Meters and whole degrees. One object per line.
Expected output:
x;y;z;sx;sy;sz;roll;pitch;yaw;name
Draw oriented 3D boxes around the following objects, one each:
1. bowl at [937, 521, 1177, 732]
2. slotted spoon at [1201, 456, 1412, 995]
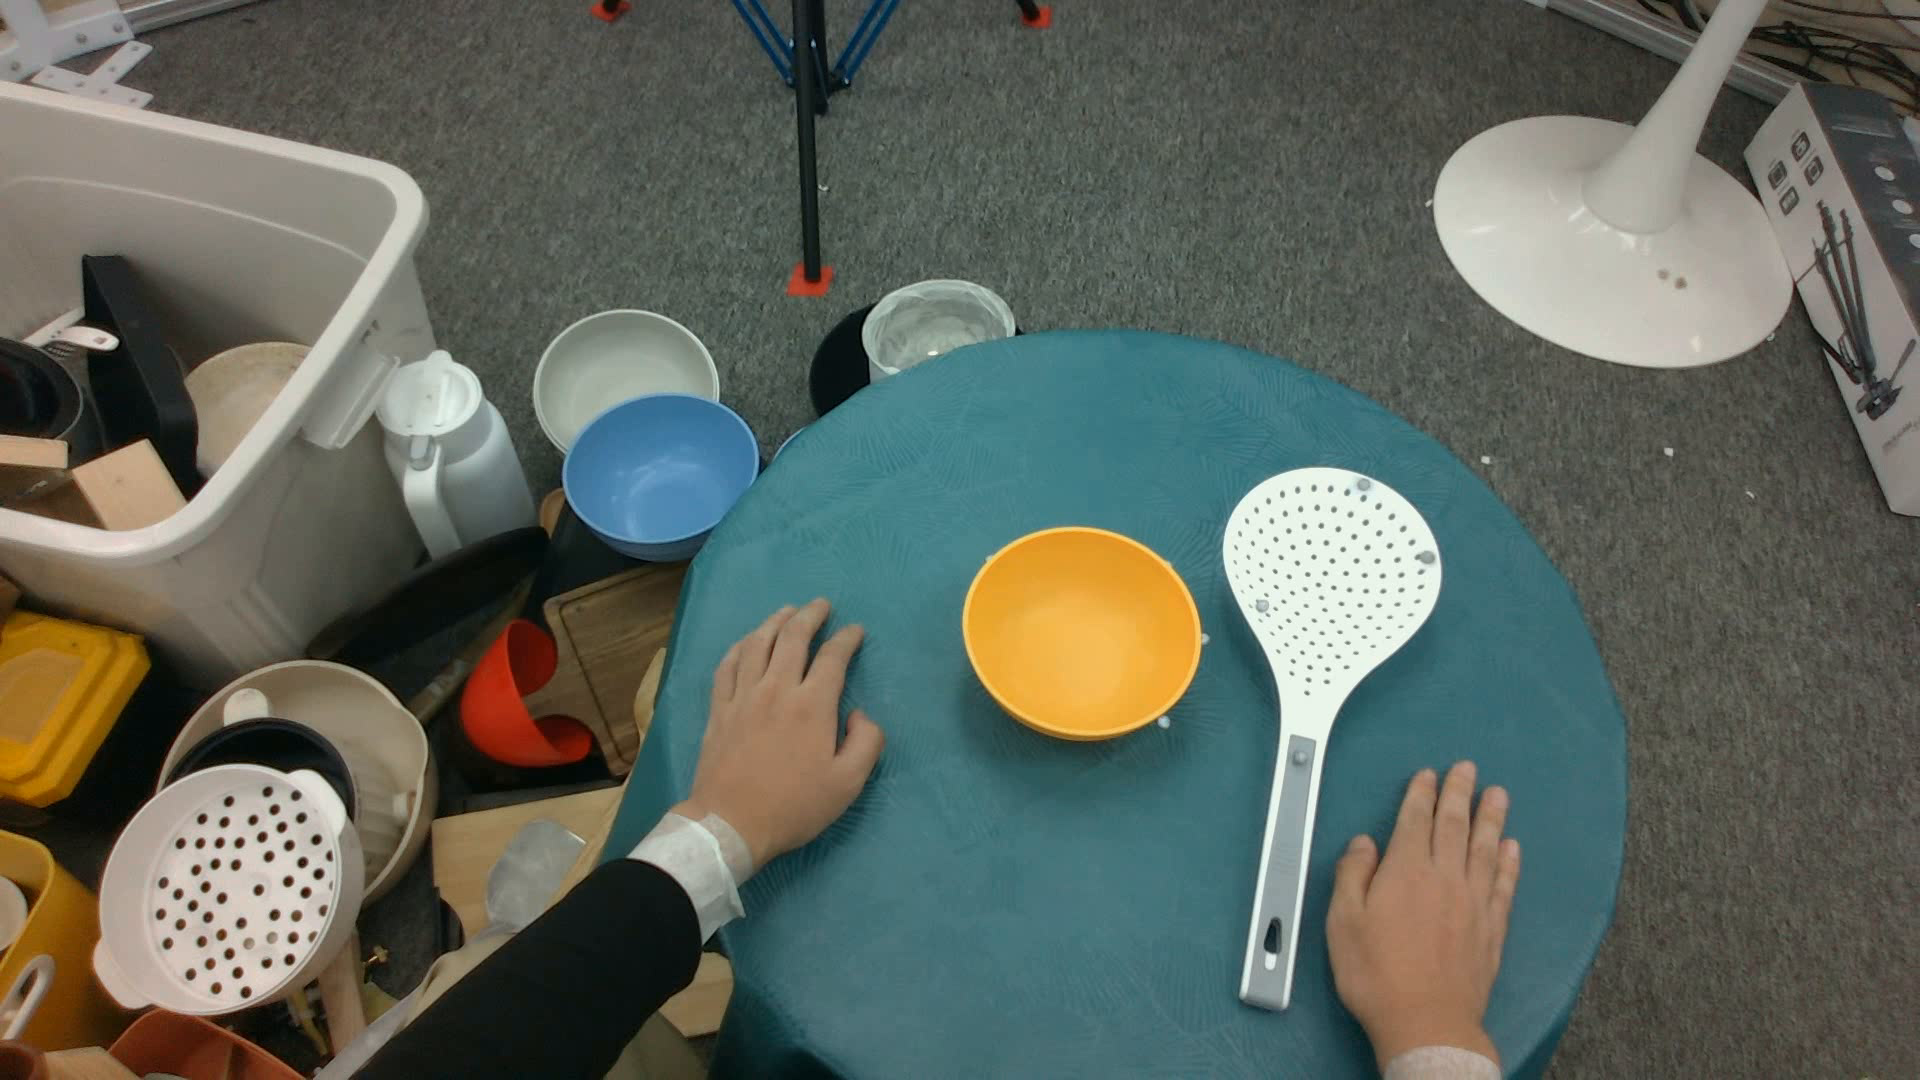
0.057;0.063;0.848;0.145;0.060;0.146;1;55;-2;bowl
0.196;0.099;0.839;0.136;0.045;0.351;13;57;6;slotted spoon
